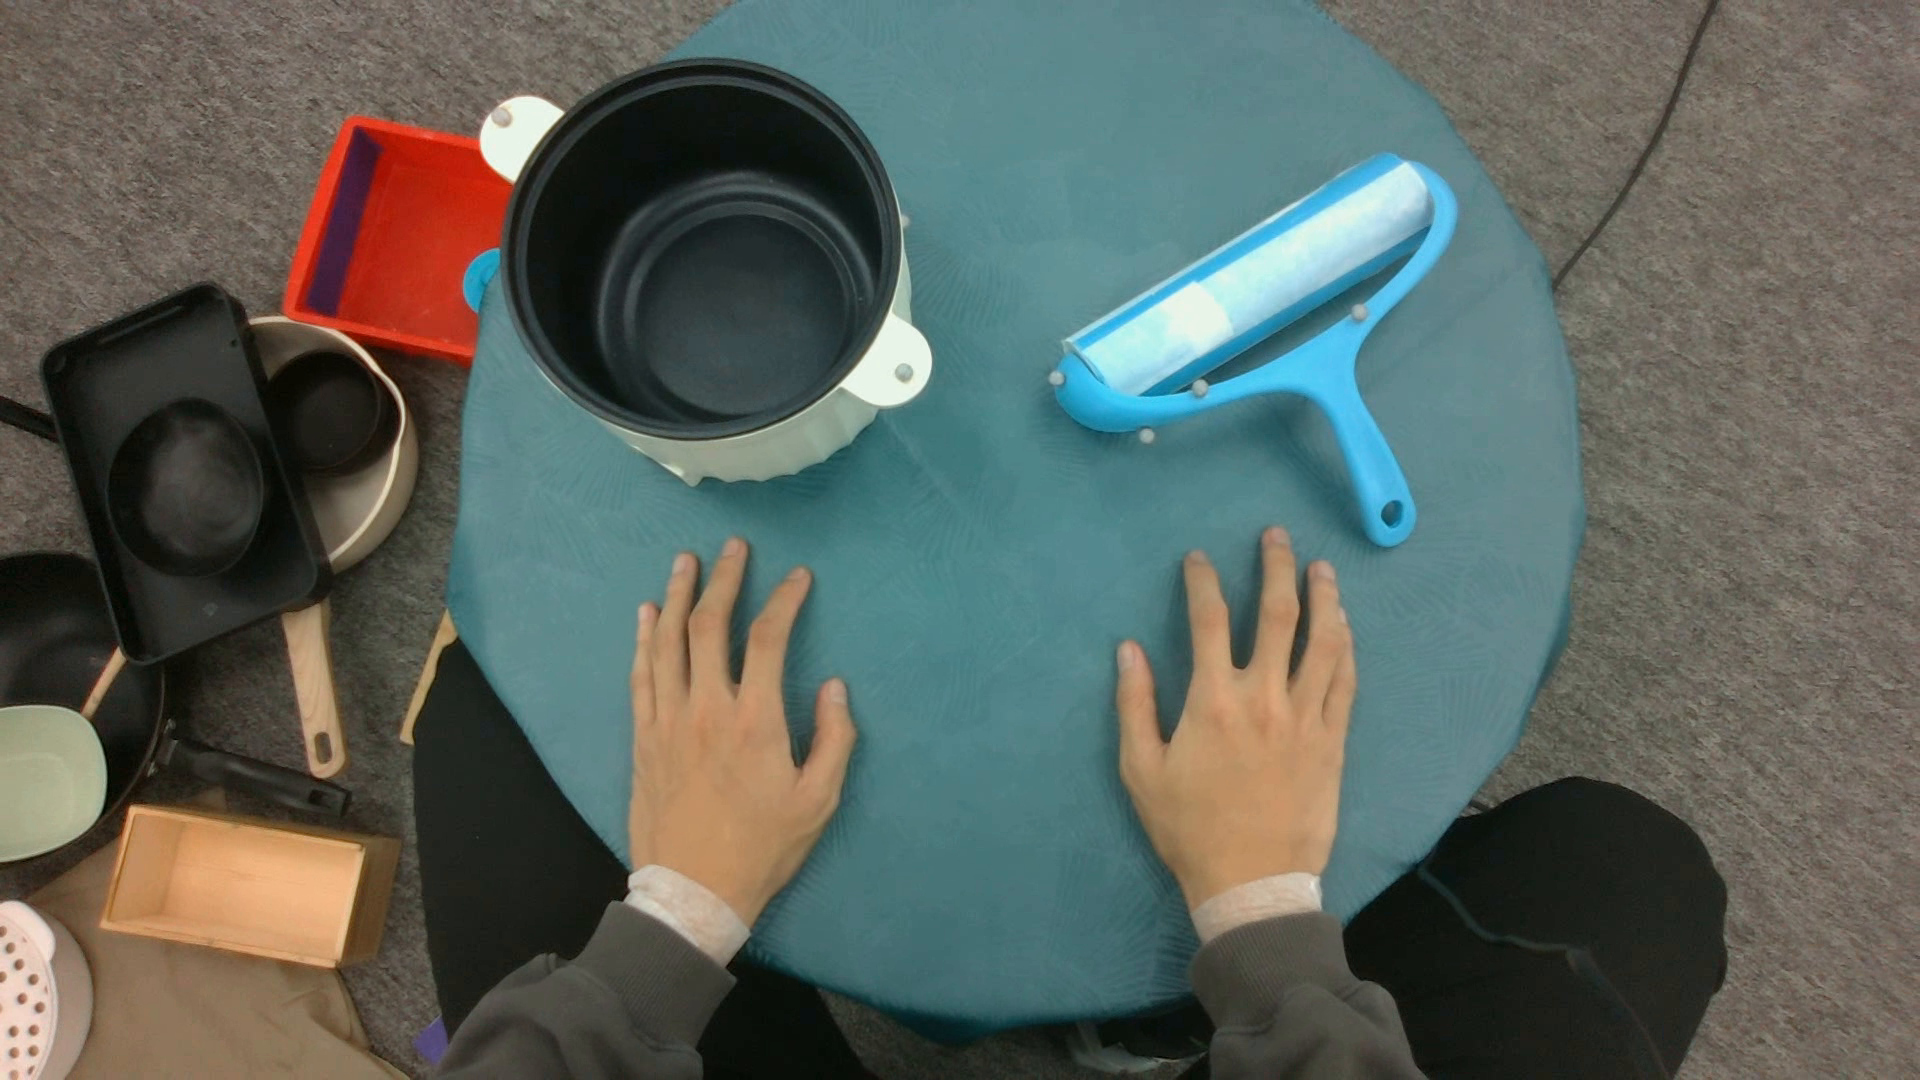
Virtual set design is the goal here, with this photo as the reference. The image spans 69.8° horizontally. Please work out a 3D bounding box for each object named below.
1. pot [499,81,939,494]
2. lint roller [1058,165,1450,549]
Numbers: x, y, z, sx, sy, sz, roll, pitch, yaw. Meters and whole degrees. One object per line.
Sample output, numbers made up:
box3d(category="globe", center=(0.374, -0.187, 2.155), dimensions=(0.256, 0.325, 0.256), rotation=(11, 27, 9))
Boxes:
box3d(category="pot", center=(-0.109, -0.123, 0.702), dimensions=(0.240, 0.142, 0.190), rotation=(31, 86, 7))
box3d(category="lint roller", center=(0.186, -0.079, 0.719), dimensions=(0.229, 0.068, 0.180), rotation=(-33, 78, -5))
